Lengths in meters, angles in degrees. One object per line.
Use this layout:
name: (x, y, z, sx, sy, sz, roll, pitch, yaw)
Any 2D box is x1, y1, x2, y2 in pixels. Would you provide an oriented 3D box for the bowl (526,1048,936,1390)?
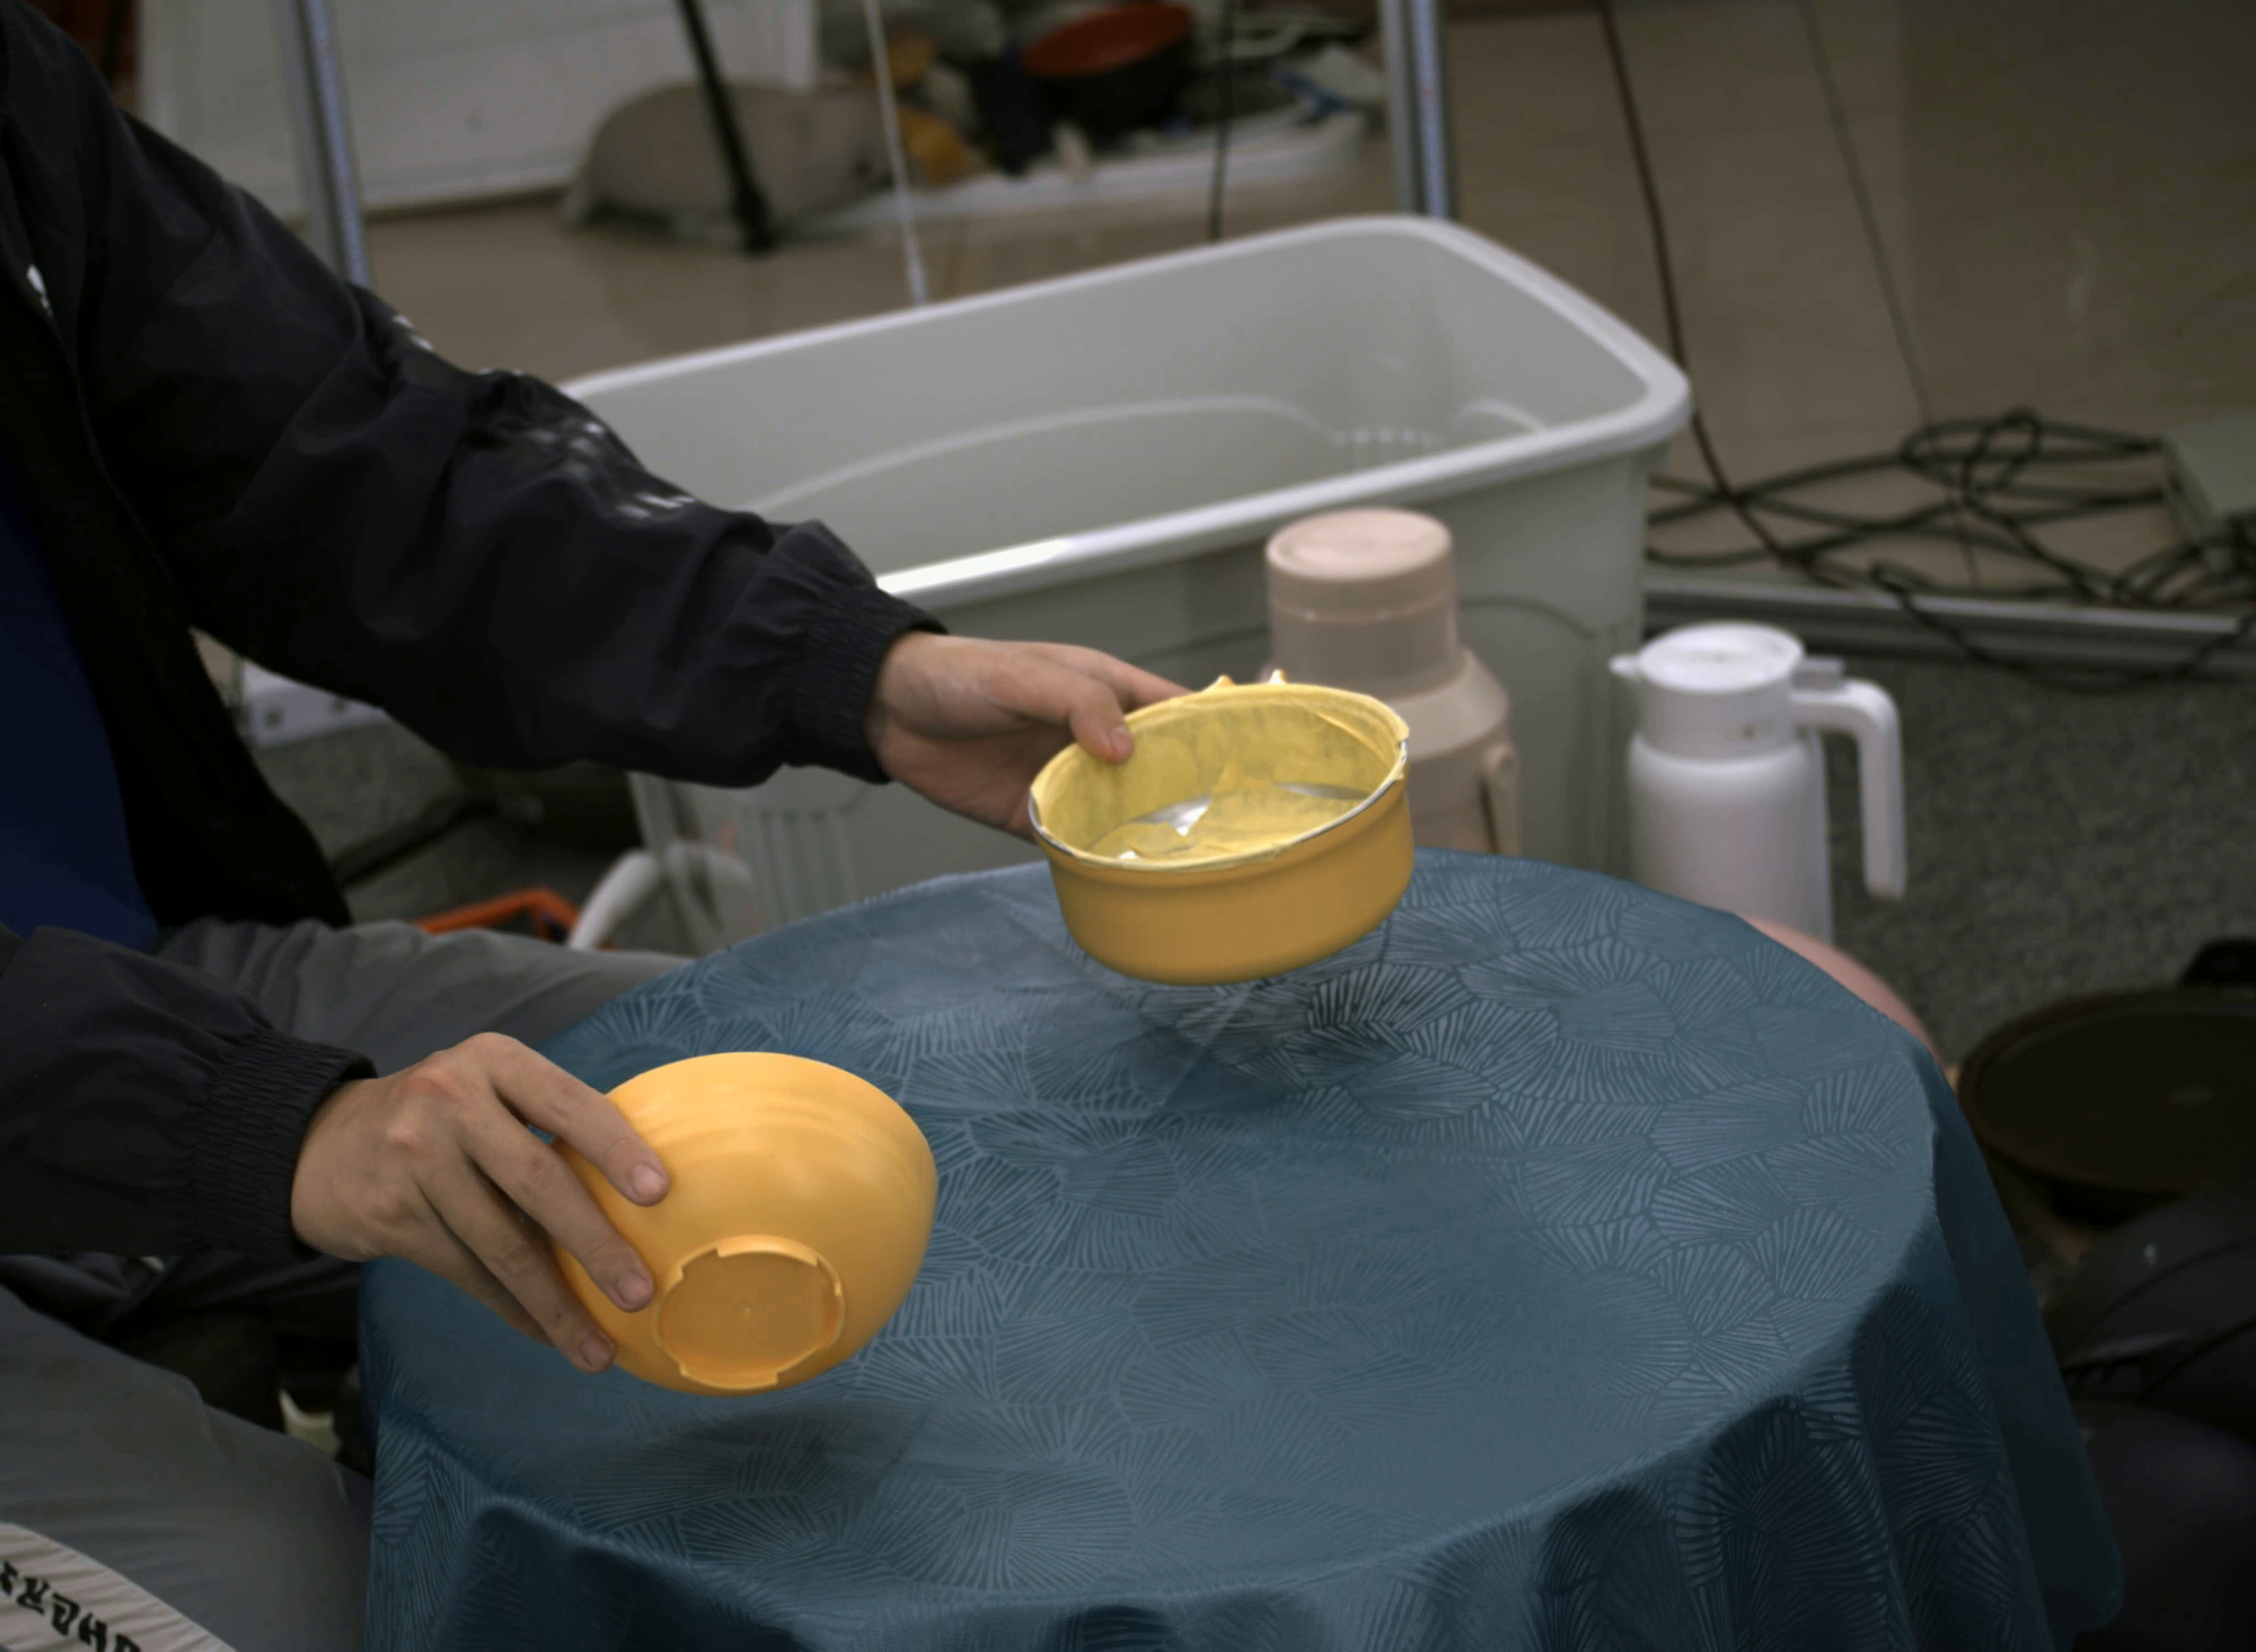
bowl: (-0.136, 0.149, 1.959, 0.145, 0.148, 0.059, -7, 42, -2)

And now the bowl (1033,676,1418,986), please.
bowl: (0.045, 0.001, 2.250, 0.153, 0.075, 0.176, -8, 27, 9)
